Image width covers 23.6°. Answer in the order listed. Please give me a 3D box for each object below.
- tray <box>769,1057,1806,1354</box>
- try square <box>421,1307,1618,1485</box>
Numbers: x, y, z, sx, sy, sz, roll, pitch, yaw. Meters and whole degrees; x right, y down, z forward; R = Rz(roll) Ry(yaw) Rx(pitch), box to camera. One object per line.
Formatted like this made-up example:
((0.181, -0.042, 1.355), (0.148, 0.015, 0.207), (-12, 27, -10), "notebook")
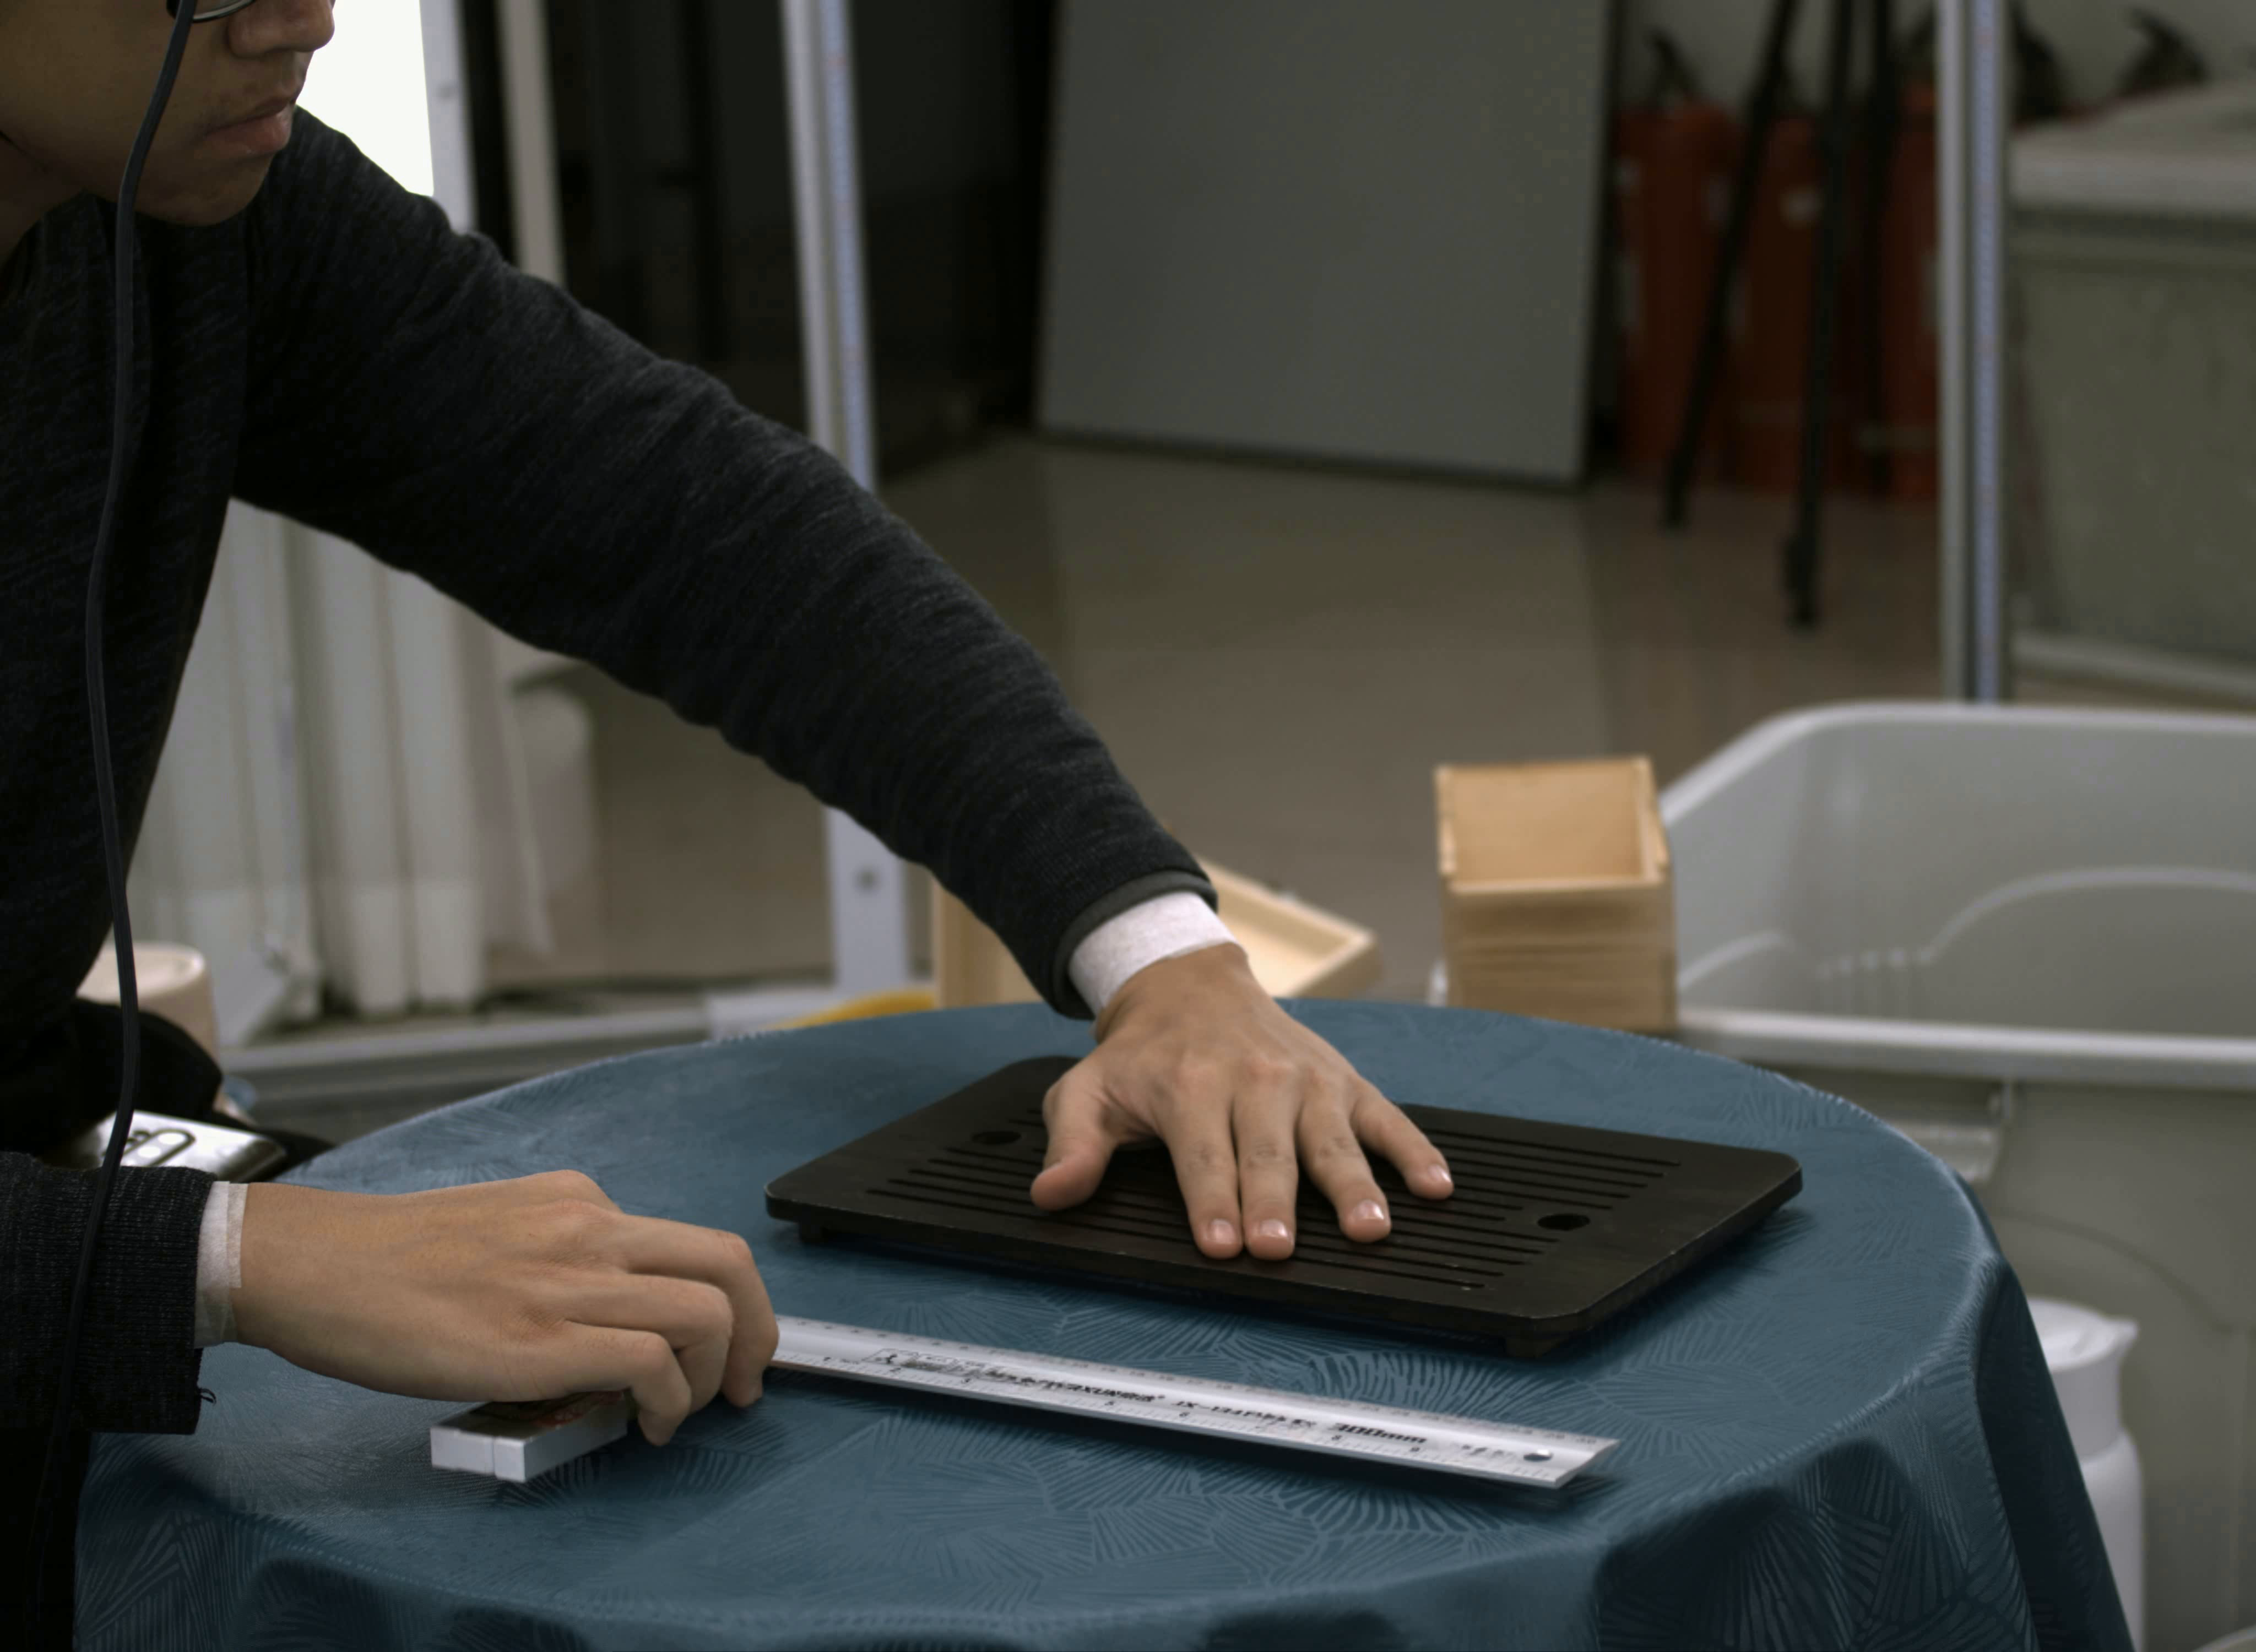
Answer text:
((0.050, 0.119, 1.726), (0.308, 0.019, 0.167), (5, 17, 35), "tray")
((-0.033, 0.172, 1.516), (0.314, 0.016, 0.149), (4, 11, 34), "try square")
